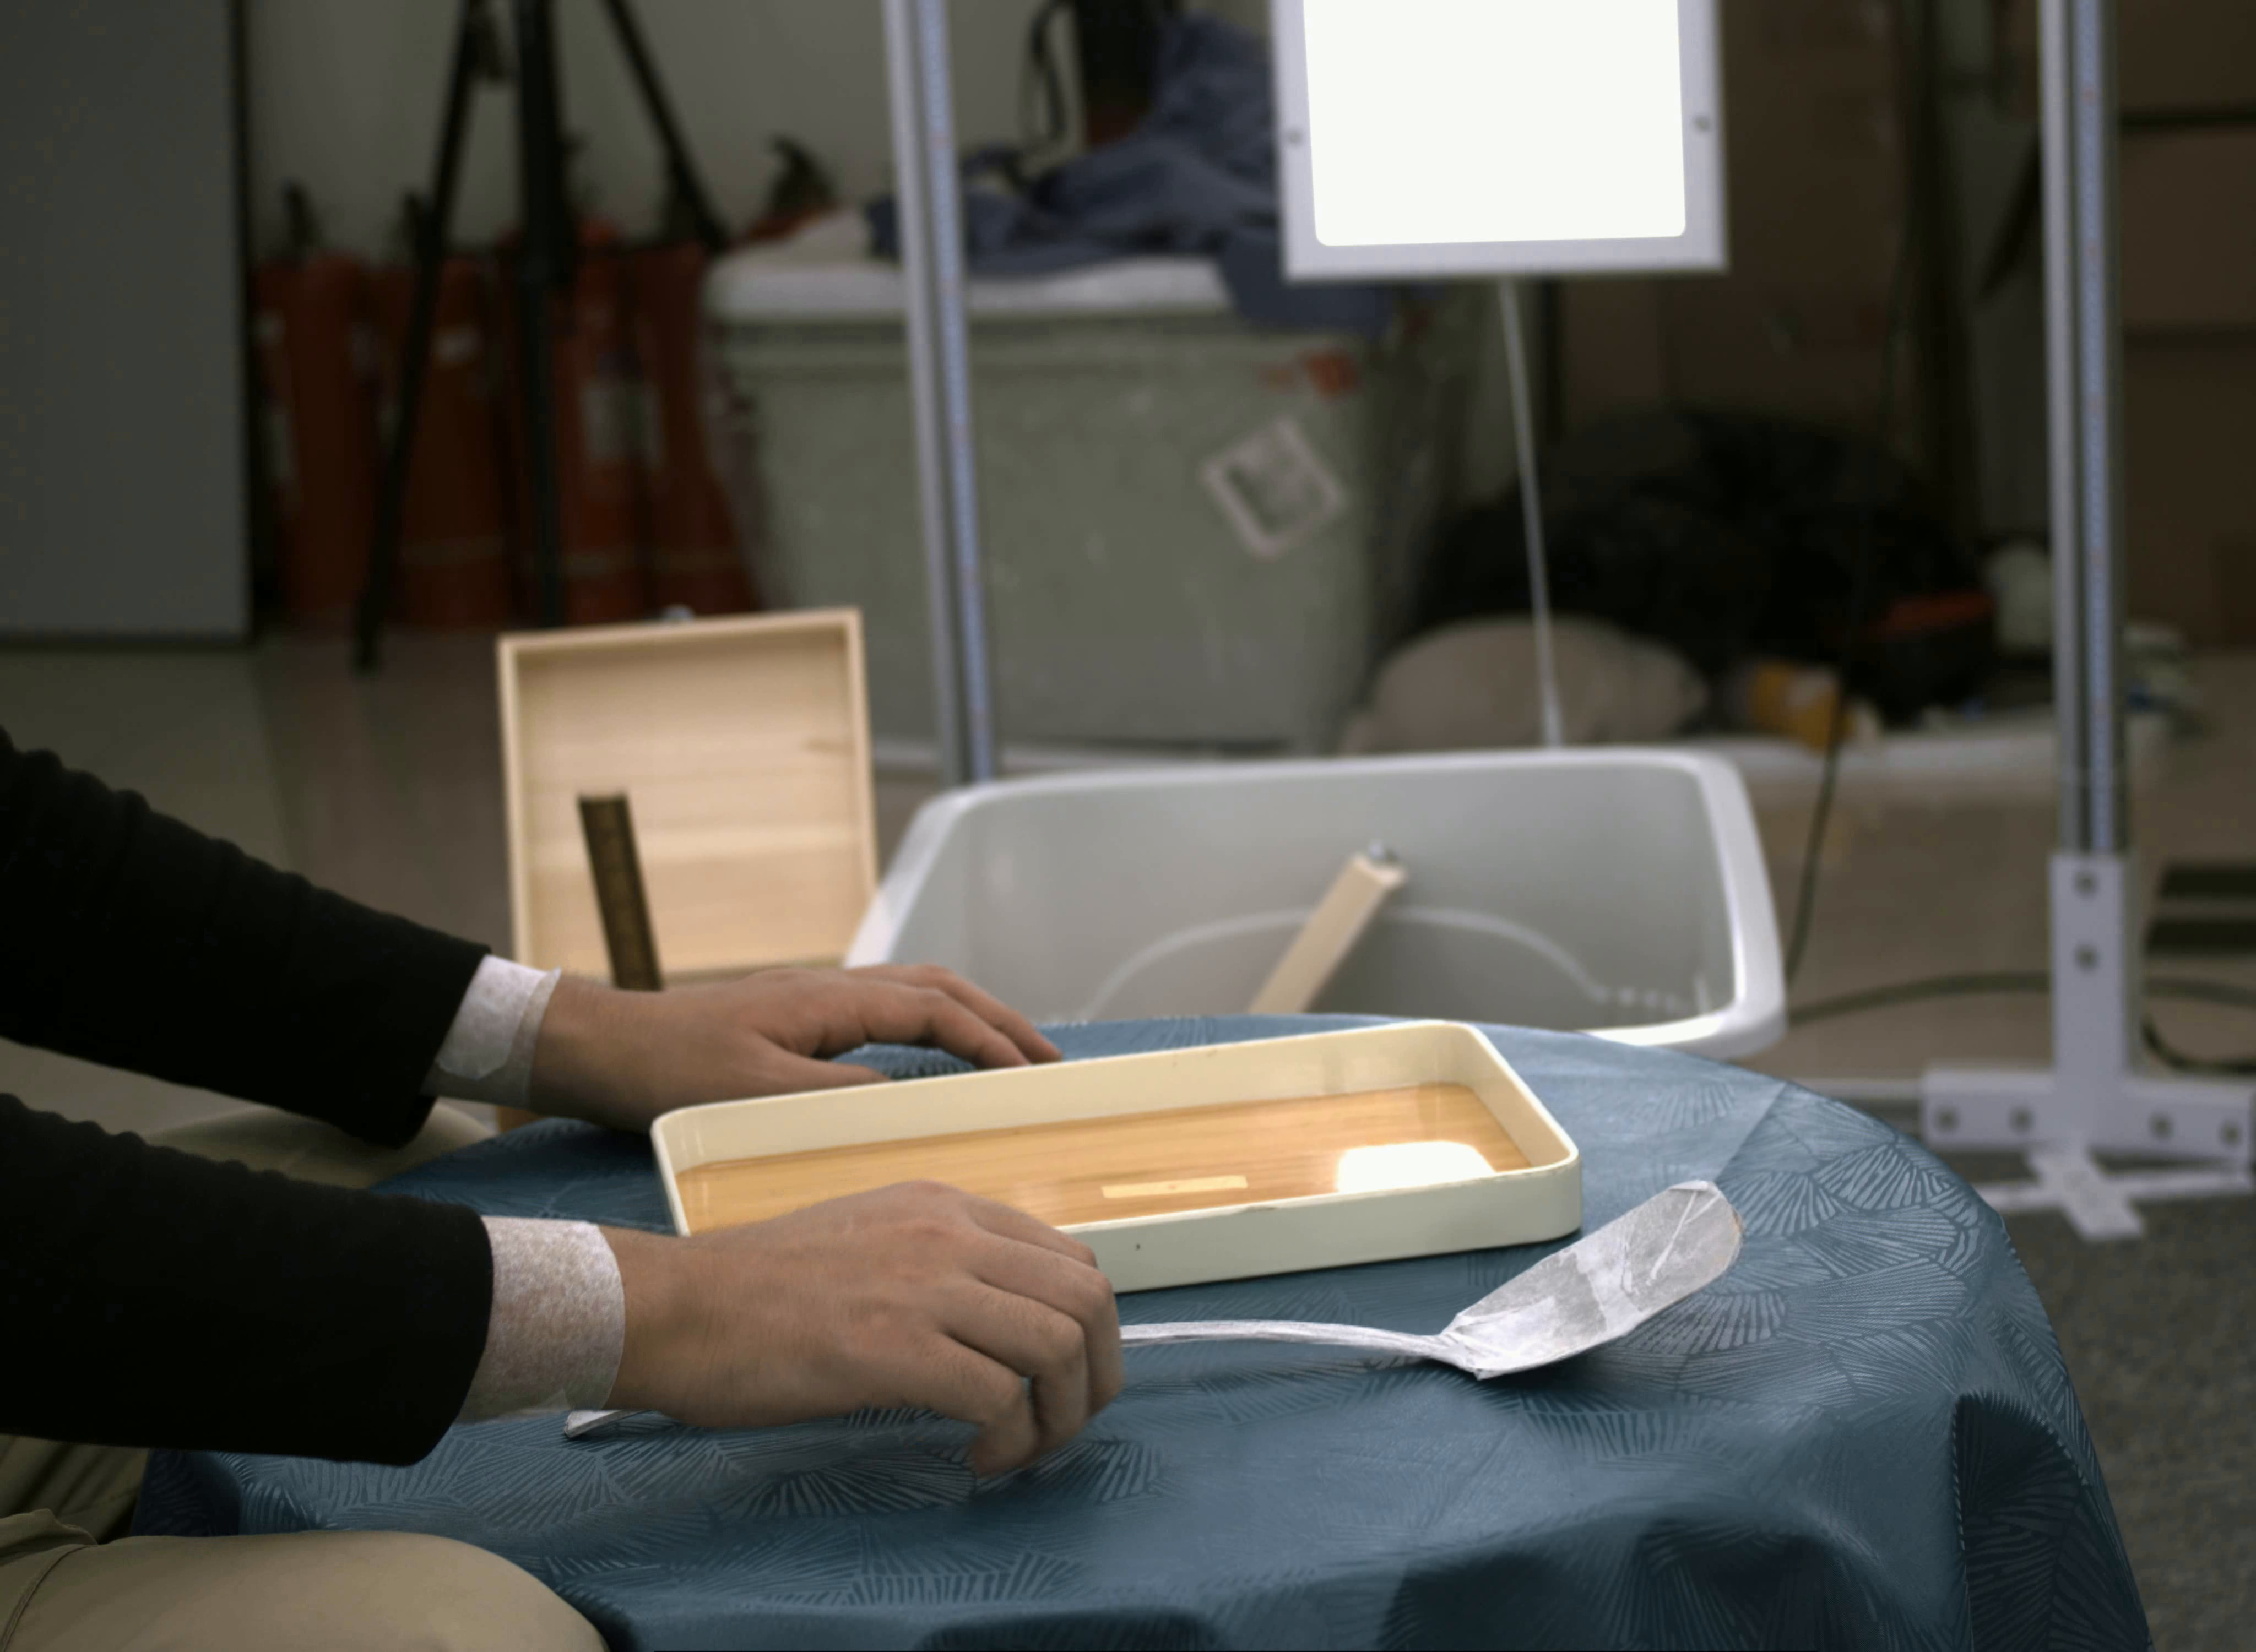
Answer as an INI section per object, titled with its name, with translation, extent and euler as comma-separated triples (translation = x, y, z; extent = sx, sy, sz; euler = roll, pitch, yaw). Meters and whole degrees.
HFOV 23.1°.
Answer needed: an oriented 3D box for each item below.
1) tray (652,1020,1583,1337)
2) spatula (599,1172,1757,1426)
[tray]
translation = -0.008, 0.118, 1.879
extent = 0.298, 0.027, 0.192
euler = -7, 14, -5
[spatula]
translation = 0.014, 0.153, 1.704
extent = 0.364, 0.045, 0.098
euler = -5, 14, 2
